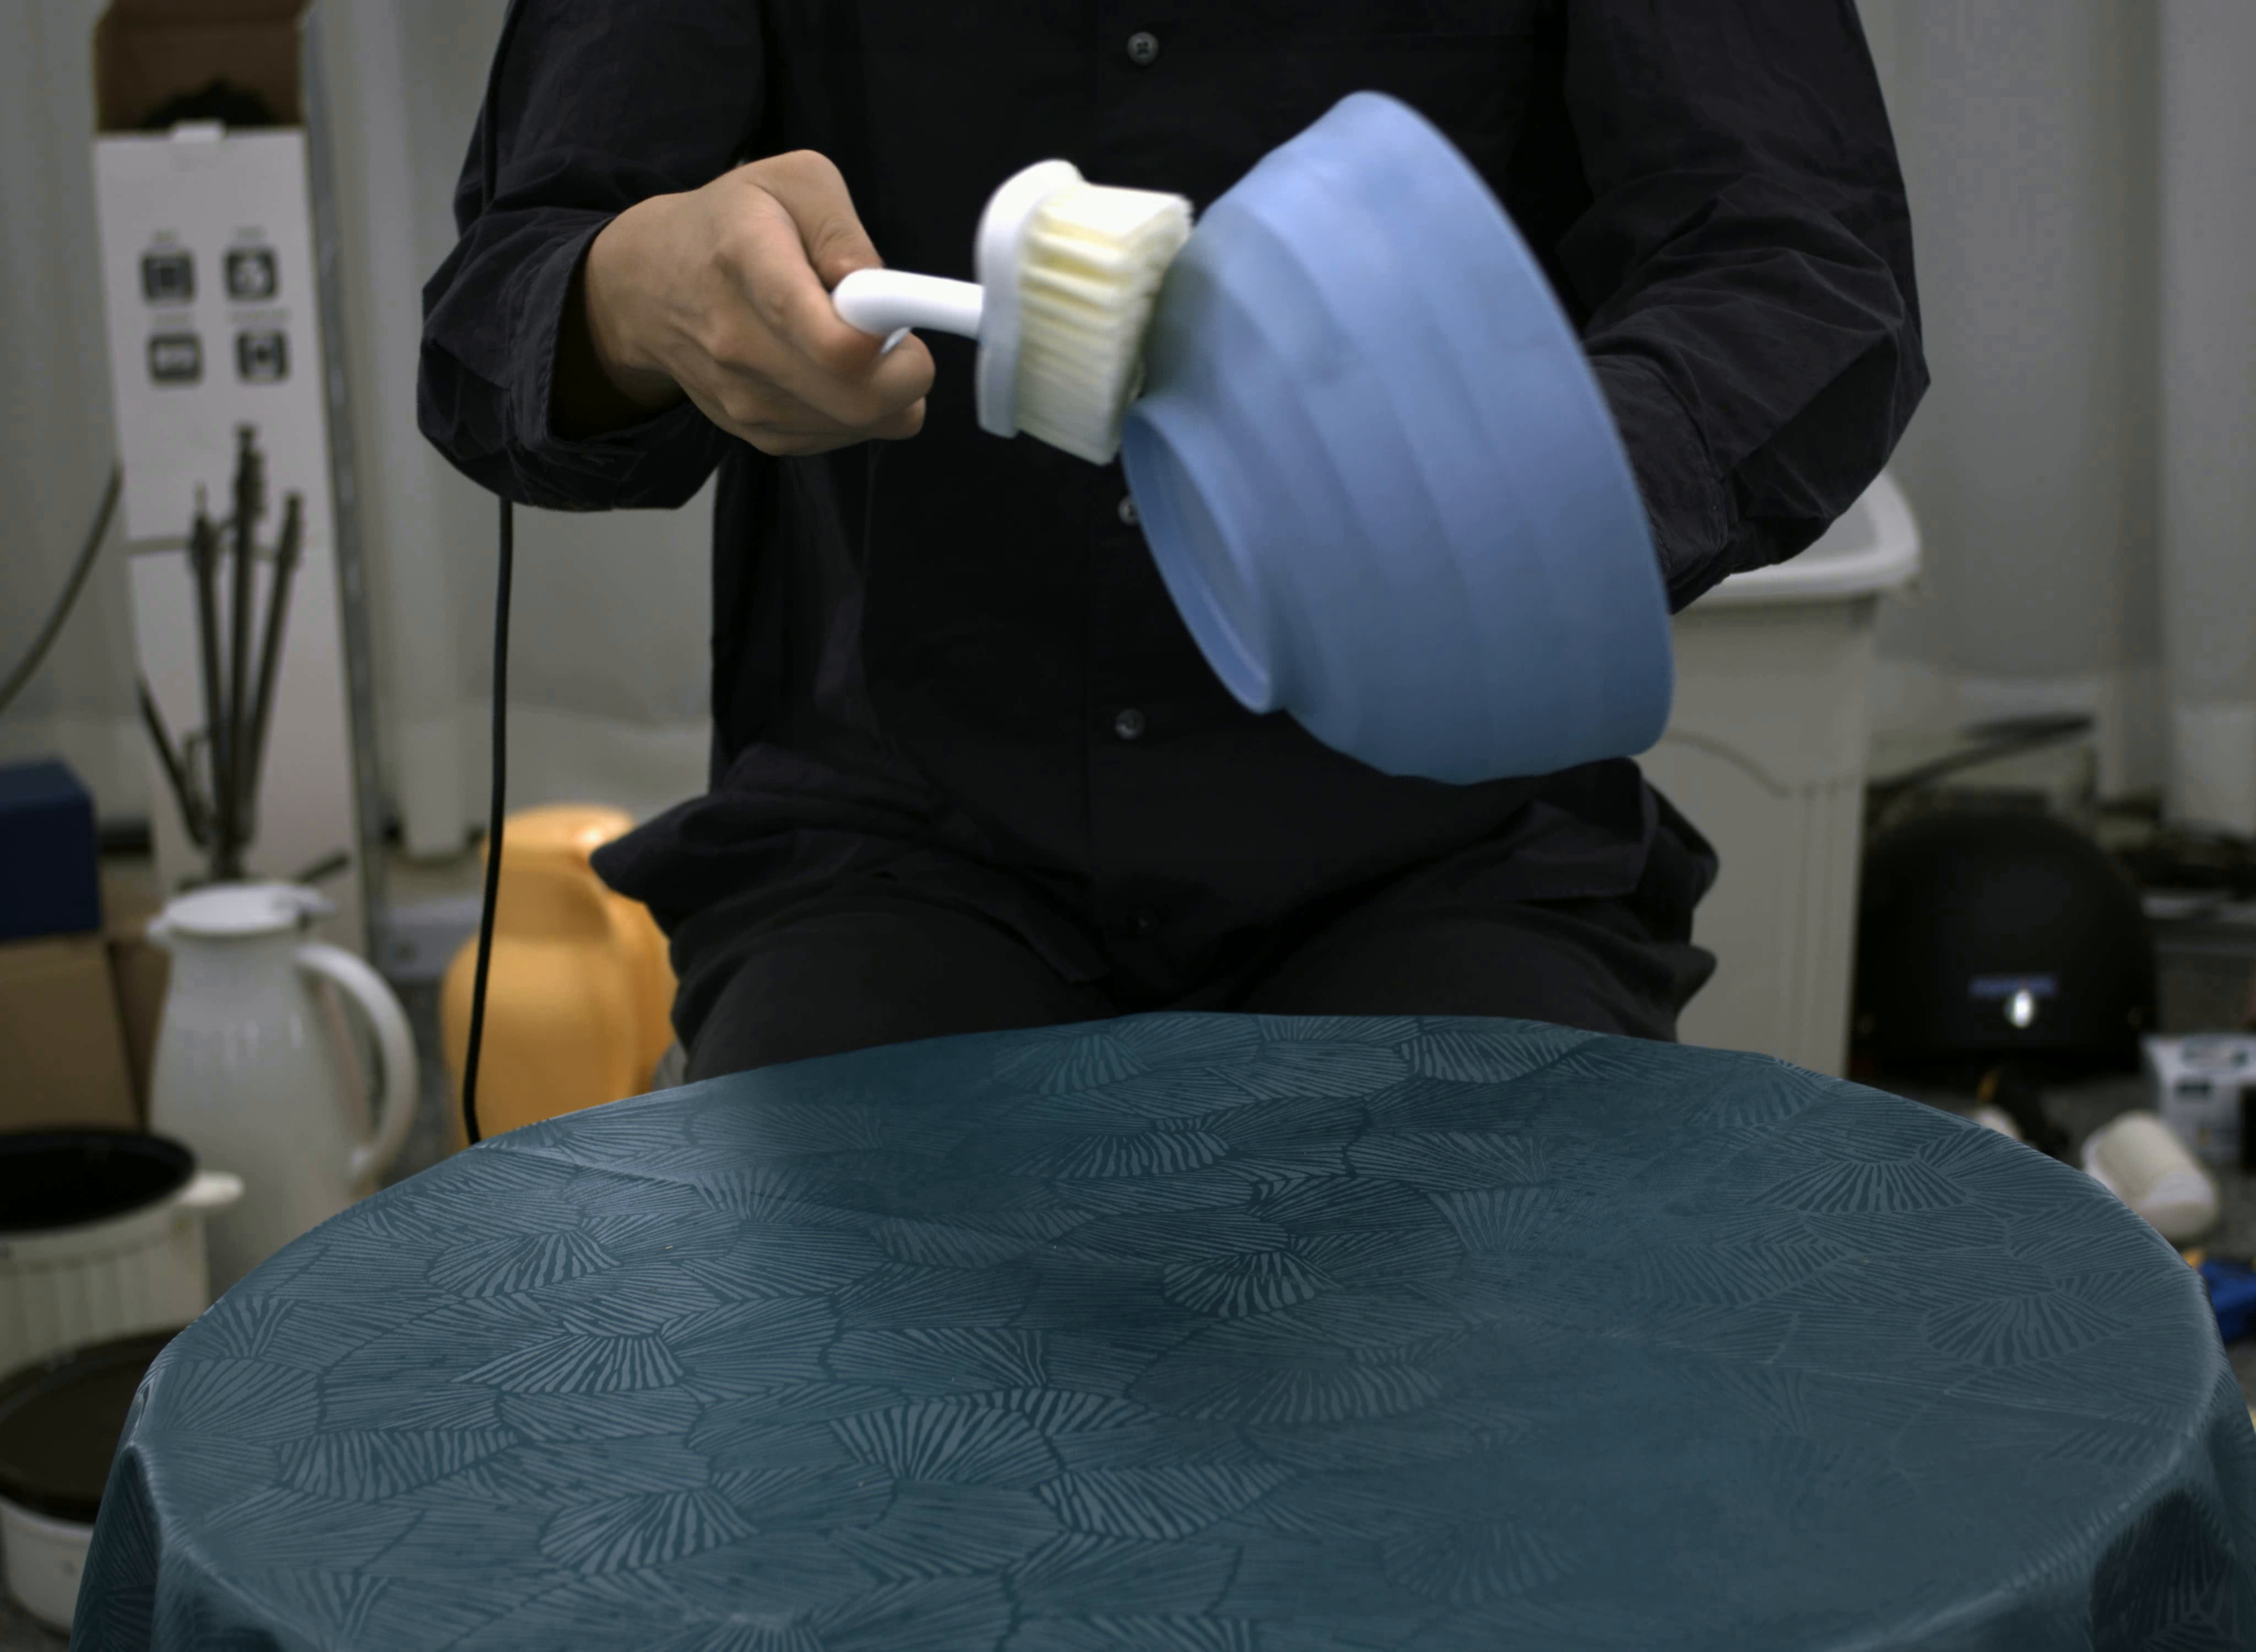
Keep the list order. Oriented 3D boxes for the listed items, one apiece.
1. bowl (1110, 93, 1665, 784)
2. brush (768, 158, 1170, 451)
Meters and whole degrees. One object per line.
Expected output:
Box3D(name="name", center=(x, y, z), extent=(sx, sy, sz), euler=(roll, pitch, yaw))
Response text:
Box3D(name="bowl", center=(0.057, -0.091, 1.492), extent=(0.095, 0.195, 0.198), euler=(-25, 19, -11))
Box3D(name="brush", center=(-0.034, -0.144, 1.591), extent=(0.083, 0.084, 0.325), euler=(-35, 5, -11))
